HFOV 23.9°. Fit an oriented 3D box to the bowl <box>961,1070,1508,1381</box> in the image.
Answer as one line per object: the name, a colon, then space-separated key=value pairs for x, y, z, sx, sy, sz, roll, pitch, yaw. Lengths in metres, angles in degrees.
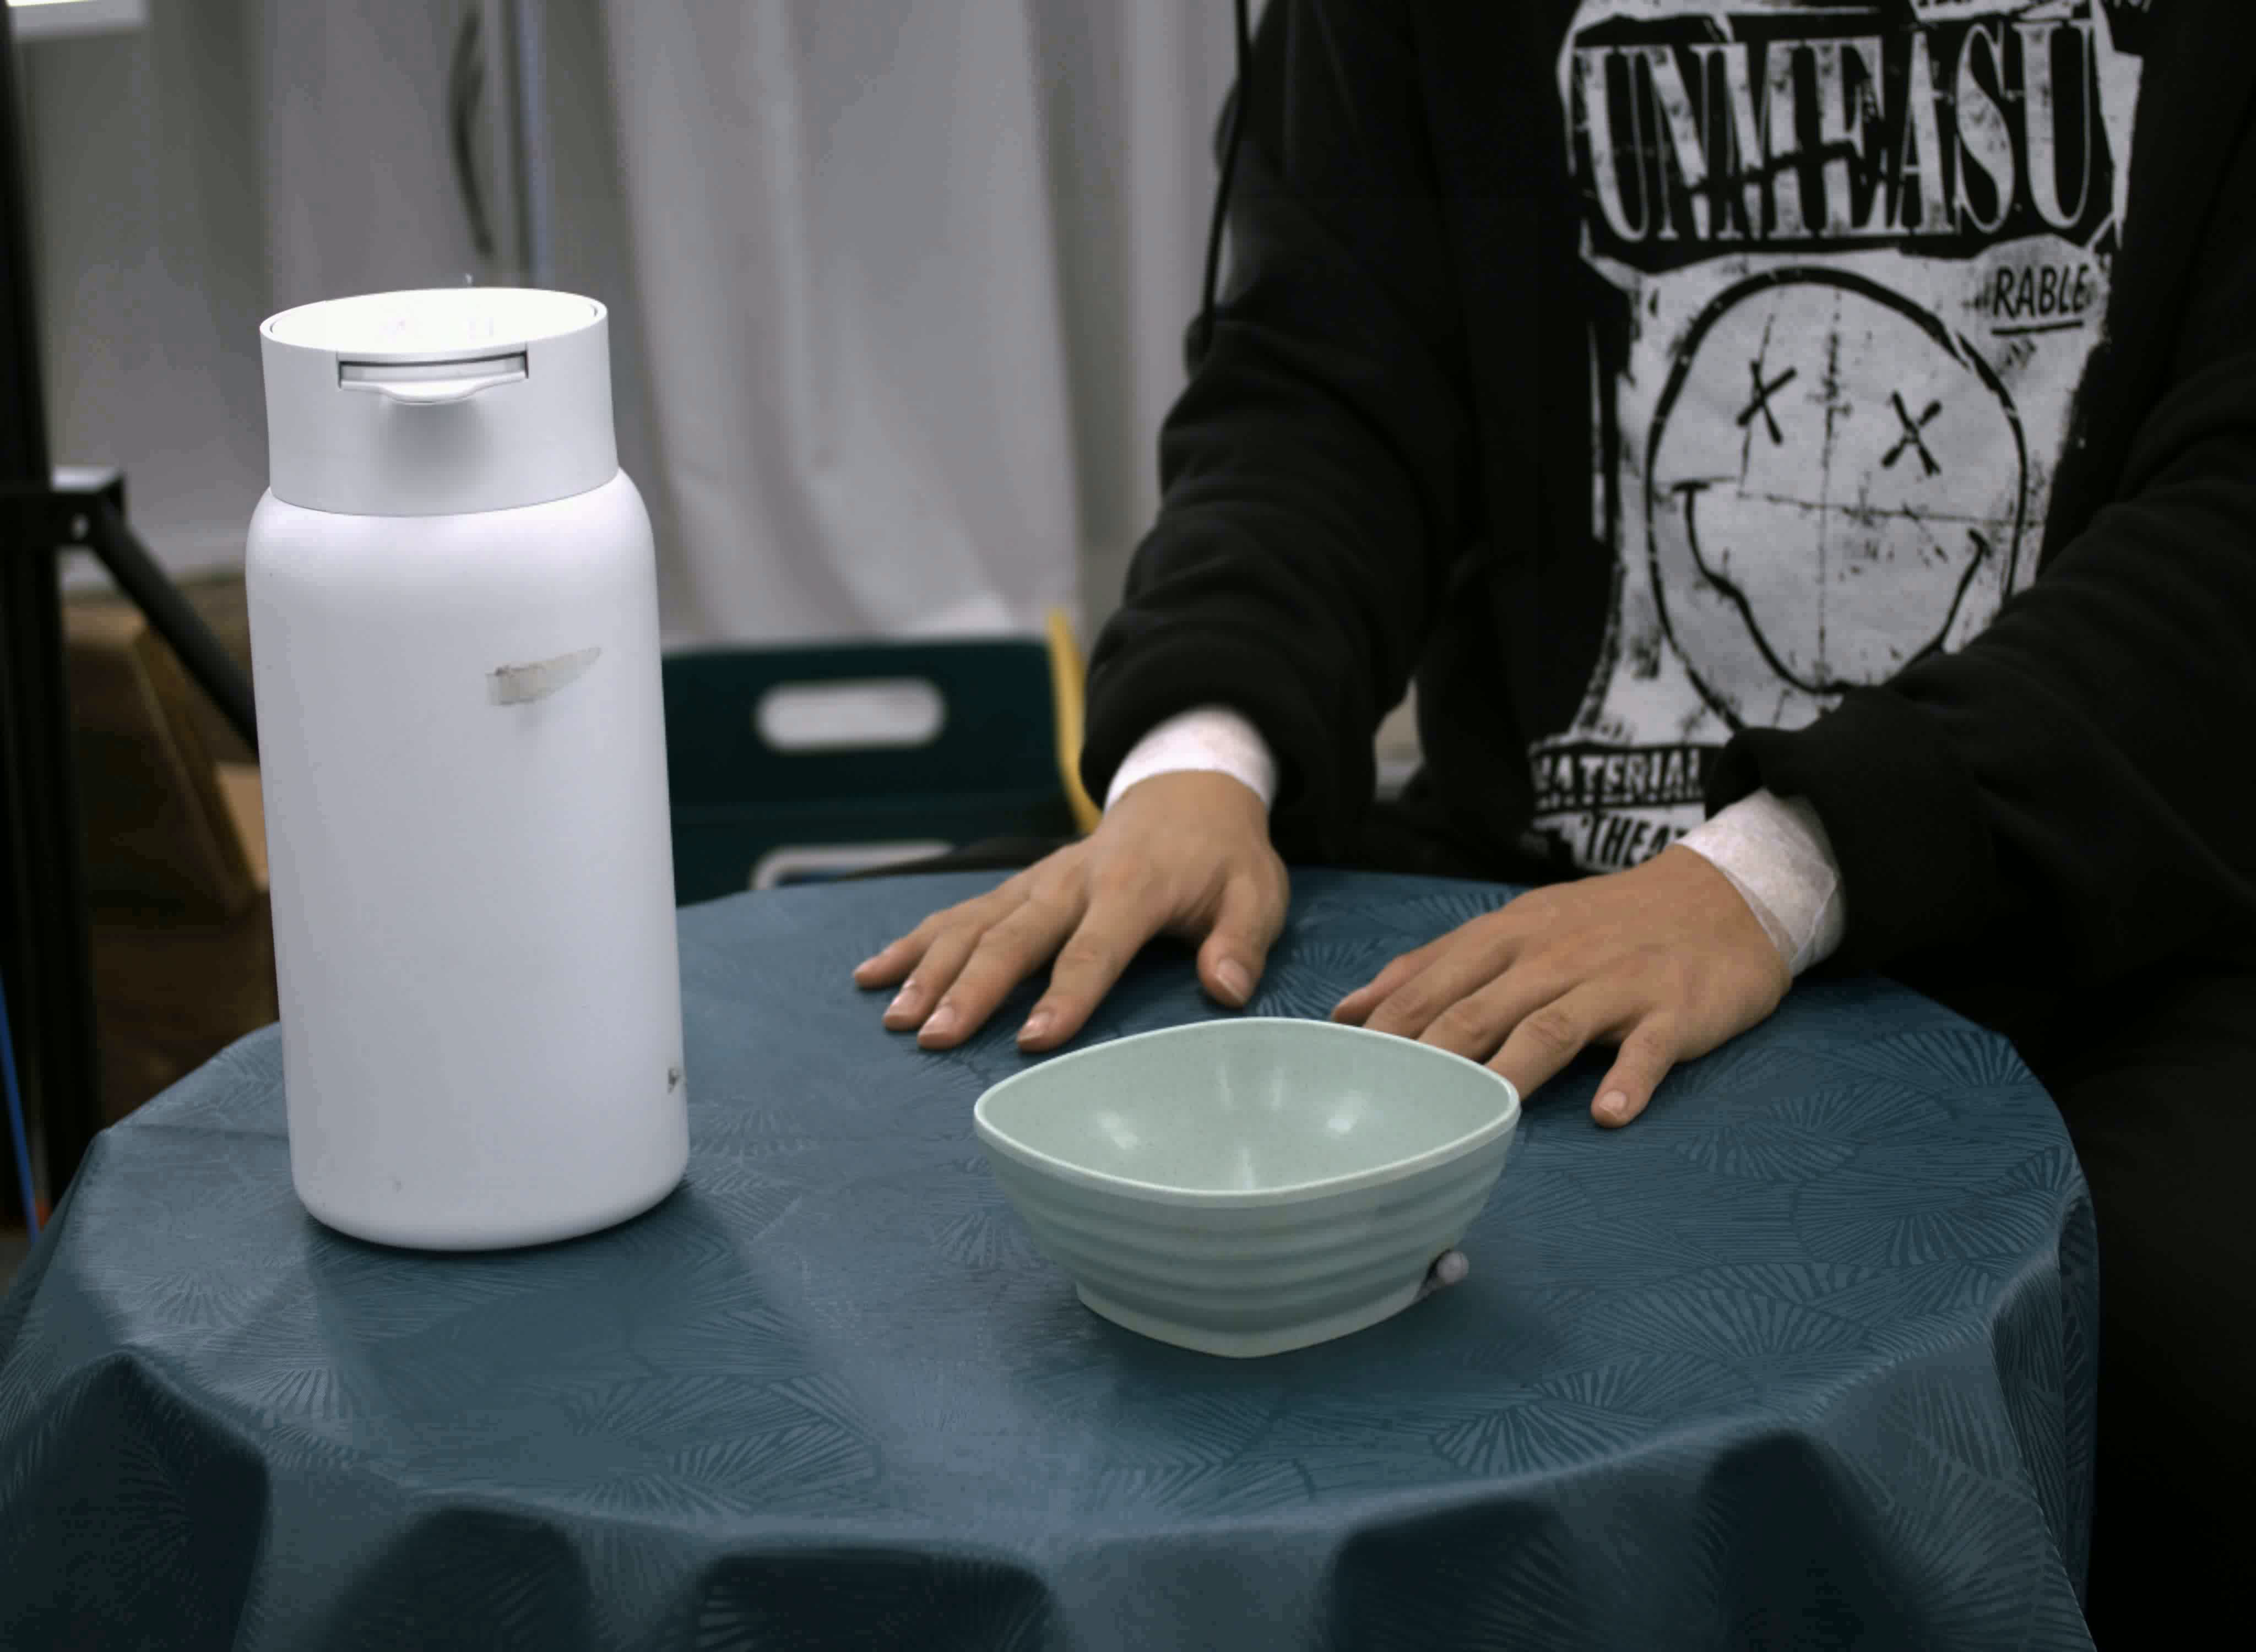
bowl: x=0.029 y=0.112 z=1.462 sx=0.150 sy=0.059 sz=0.152 roll=1 pitch=10 yaw=-2

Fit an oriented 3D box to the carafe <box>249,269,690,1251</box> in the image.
carafe: x=-0.194 y=-0.023 z=1.564 sx=0.123 sy=0.269 sz=0.174 roll=-5 pitch=15 yaw=-5
